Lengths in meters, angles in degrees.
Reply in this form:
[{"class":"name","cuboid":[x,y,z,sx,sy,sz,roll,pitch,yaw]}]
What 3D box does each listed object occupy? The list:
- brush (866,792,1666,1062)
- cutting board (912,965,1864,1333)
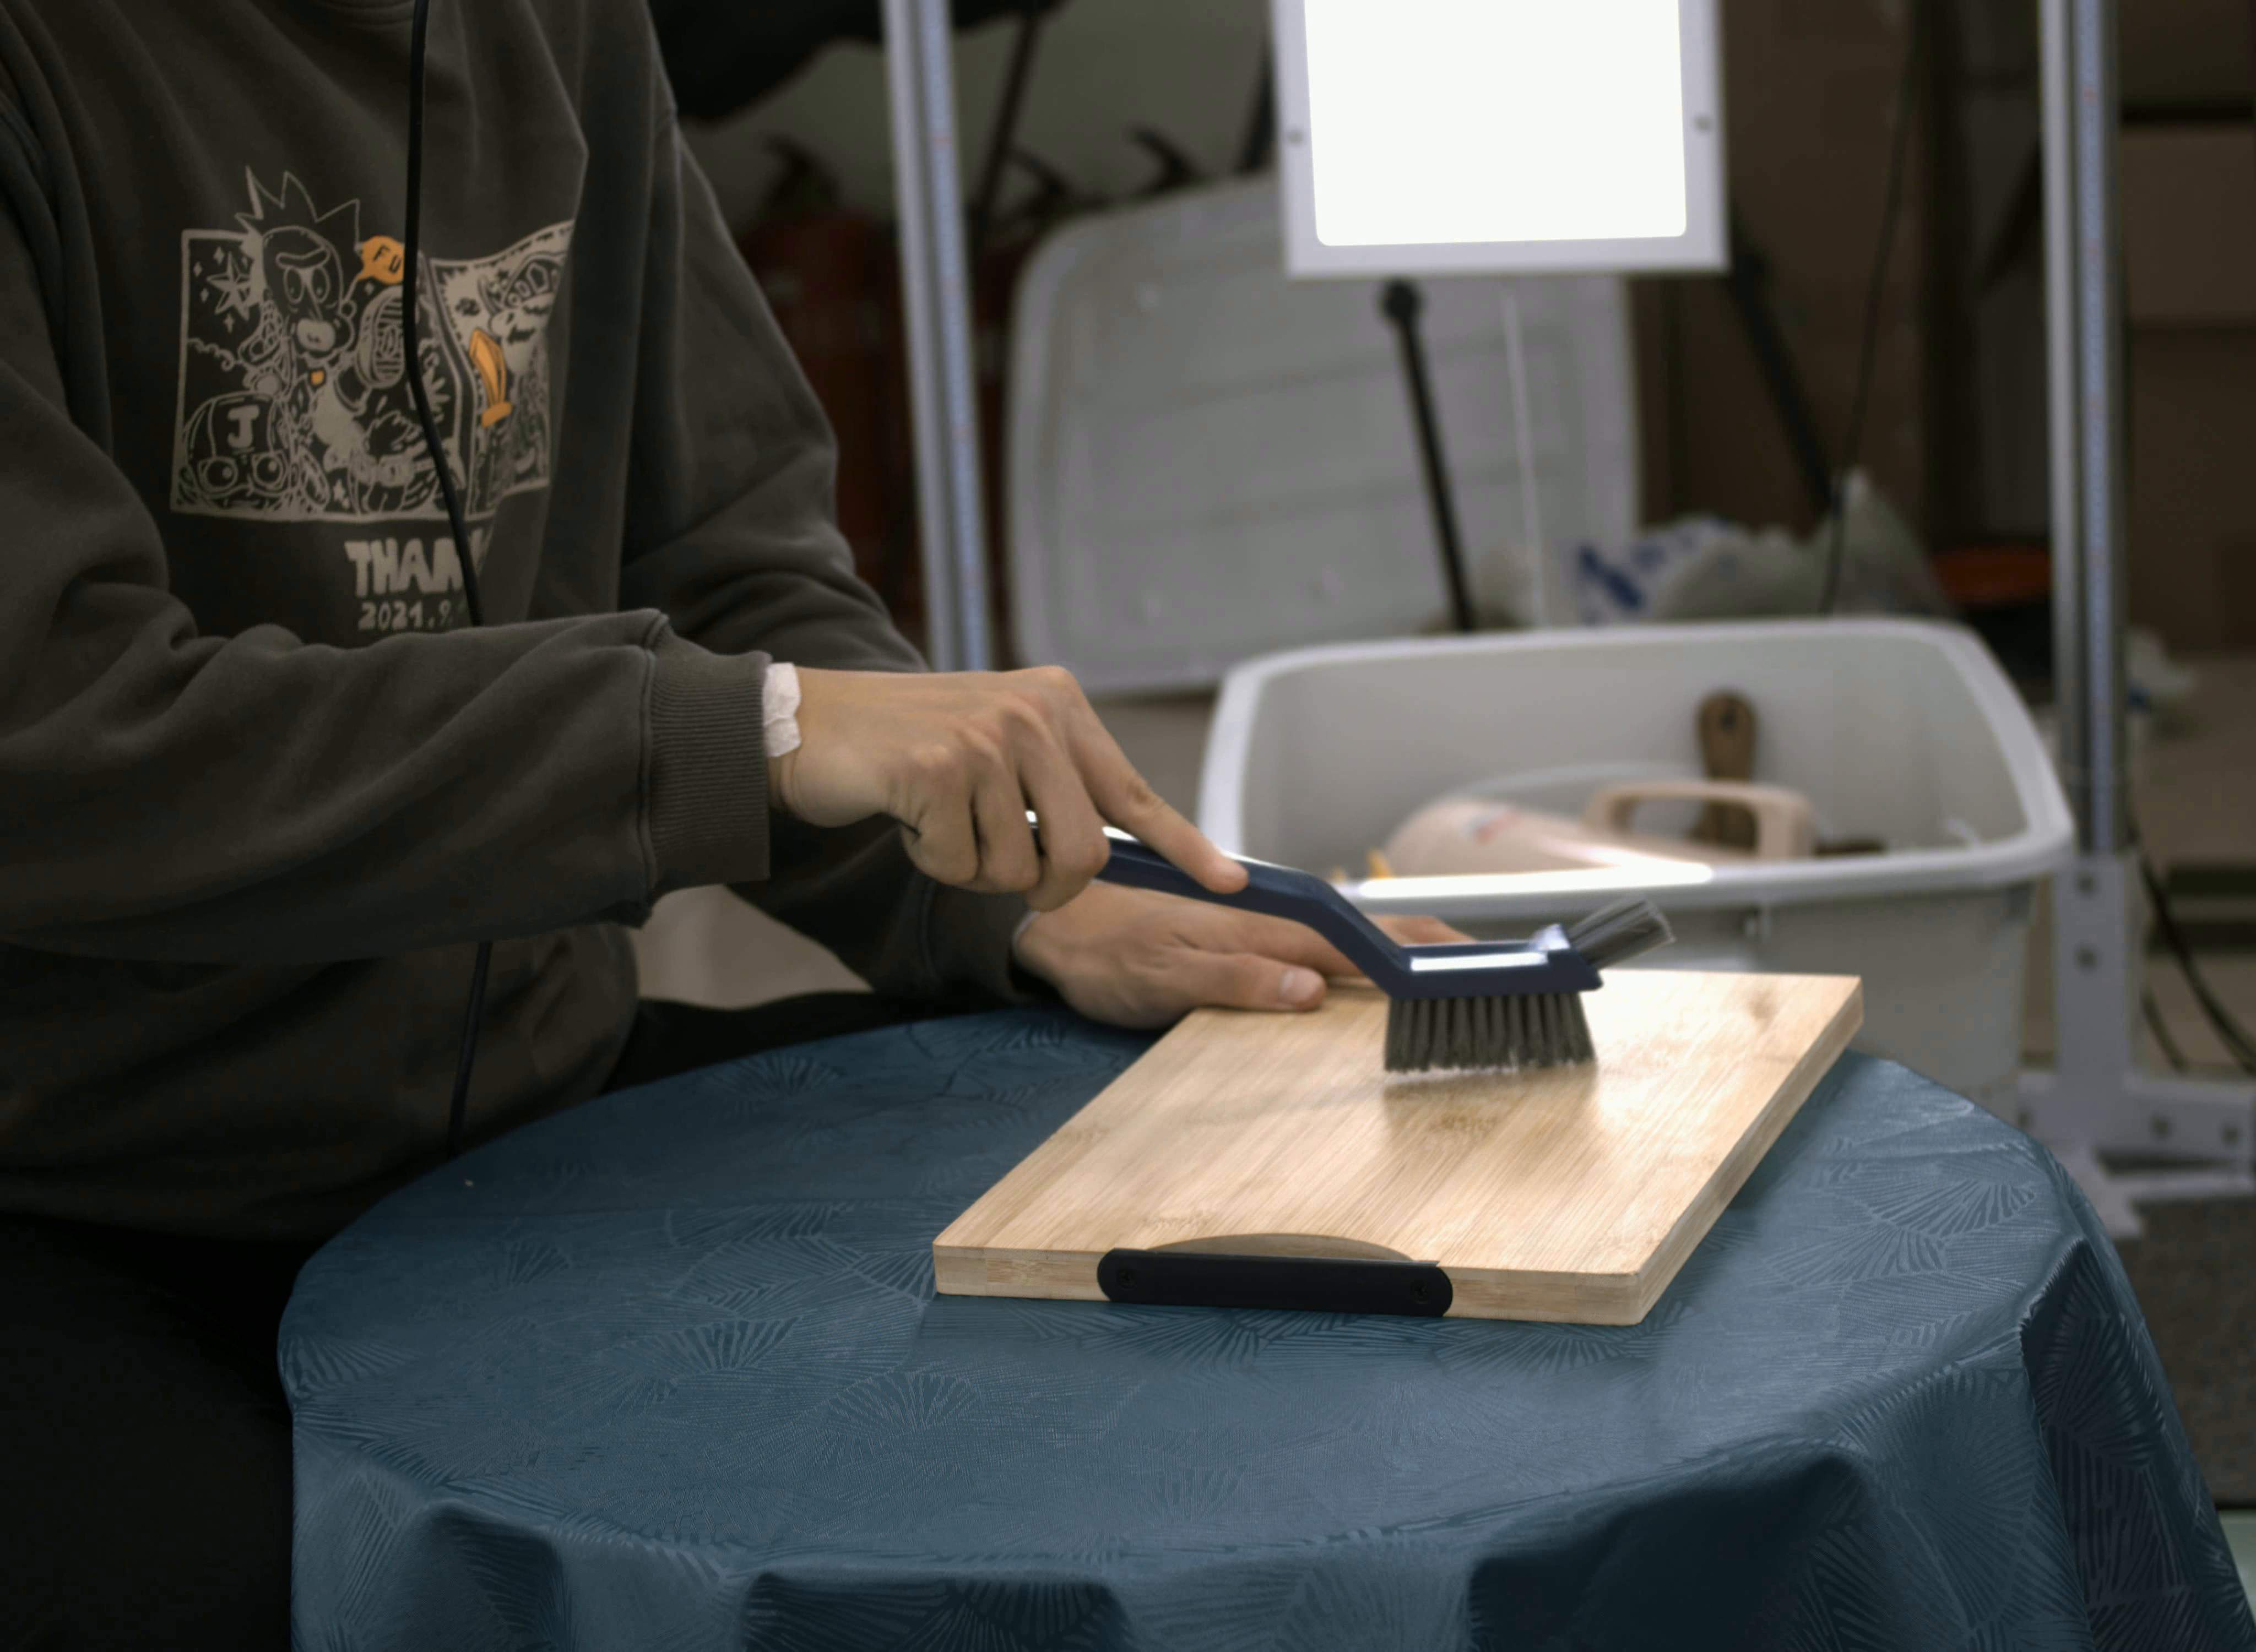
[{"class":"brush","cuboid":[0.046,0.017,1.910,0.270,0.097,0.033,20,24,-11]},{"class":"cutting board","cuboid":[0.101,0.107,1.907,0.254,0.023,0.342,-1,14,20]}]
